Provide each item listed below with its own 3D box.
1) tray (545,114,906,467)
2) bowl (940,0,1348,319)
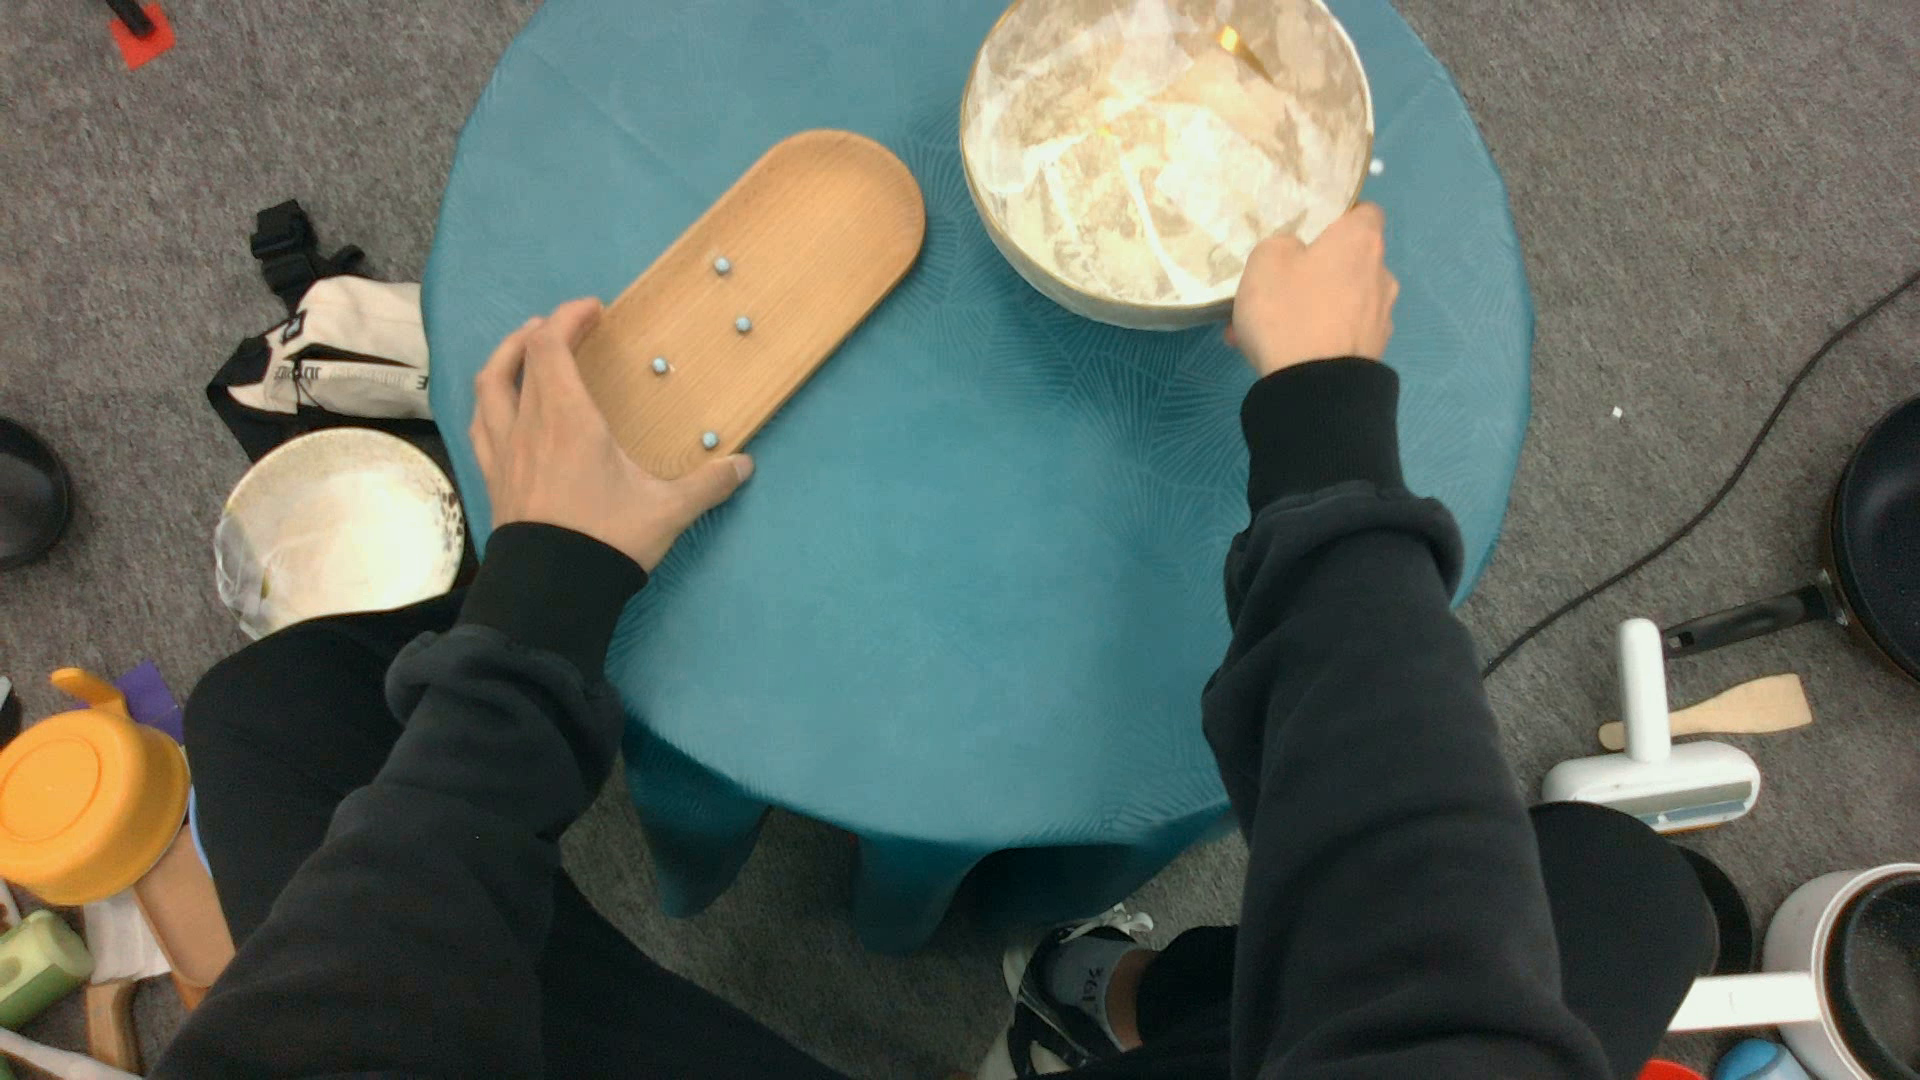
[{"bbox_3d":[-0.121,-0.134,0.727,0.101,0.020,0.232,39,73,4],"label":"tray"},{"bbox_3d":[0.087,-0.198,0.720,0.215,0.094,0.215,0,75,-1],"label":"bowl"}]
